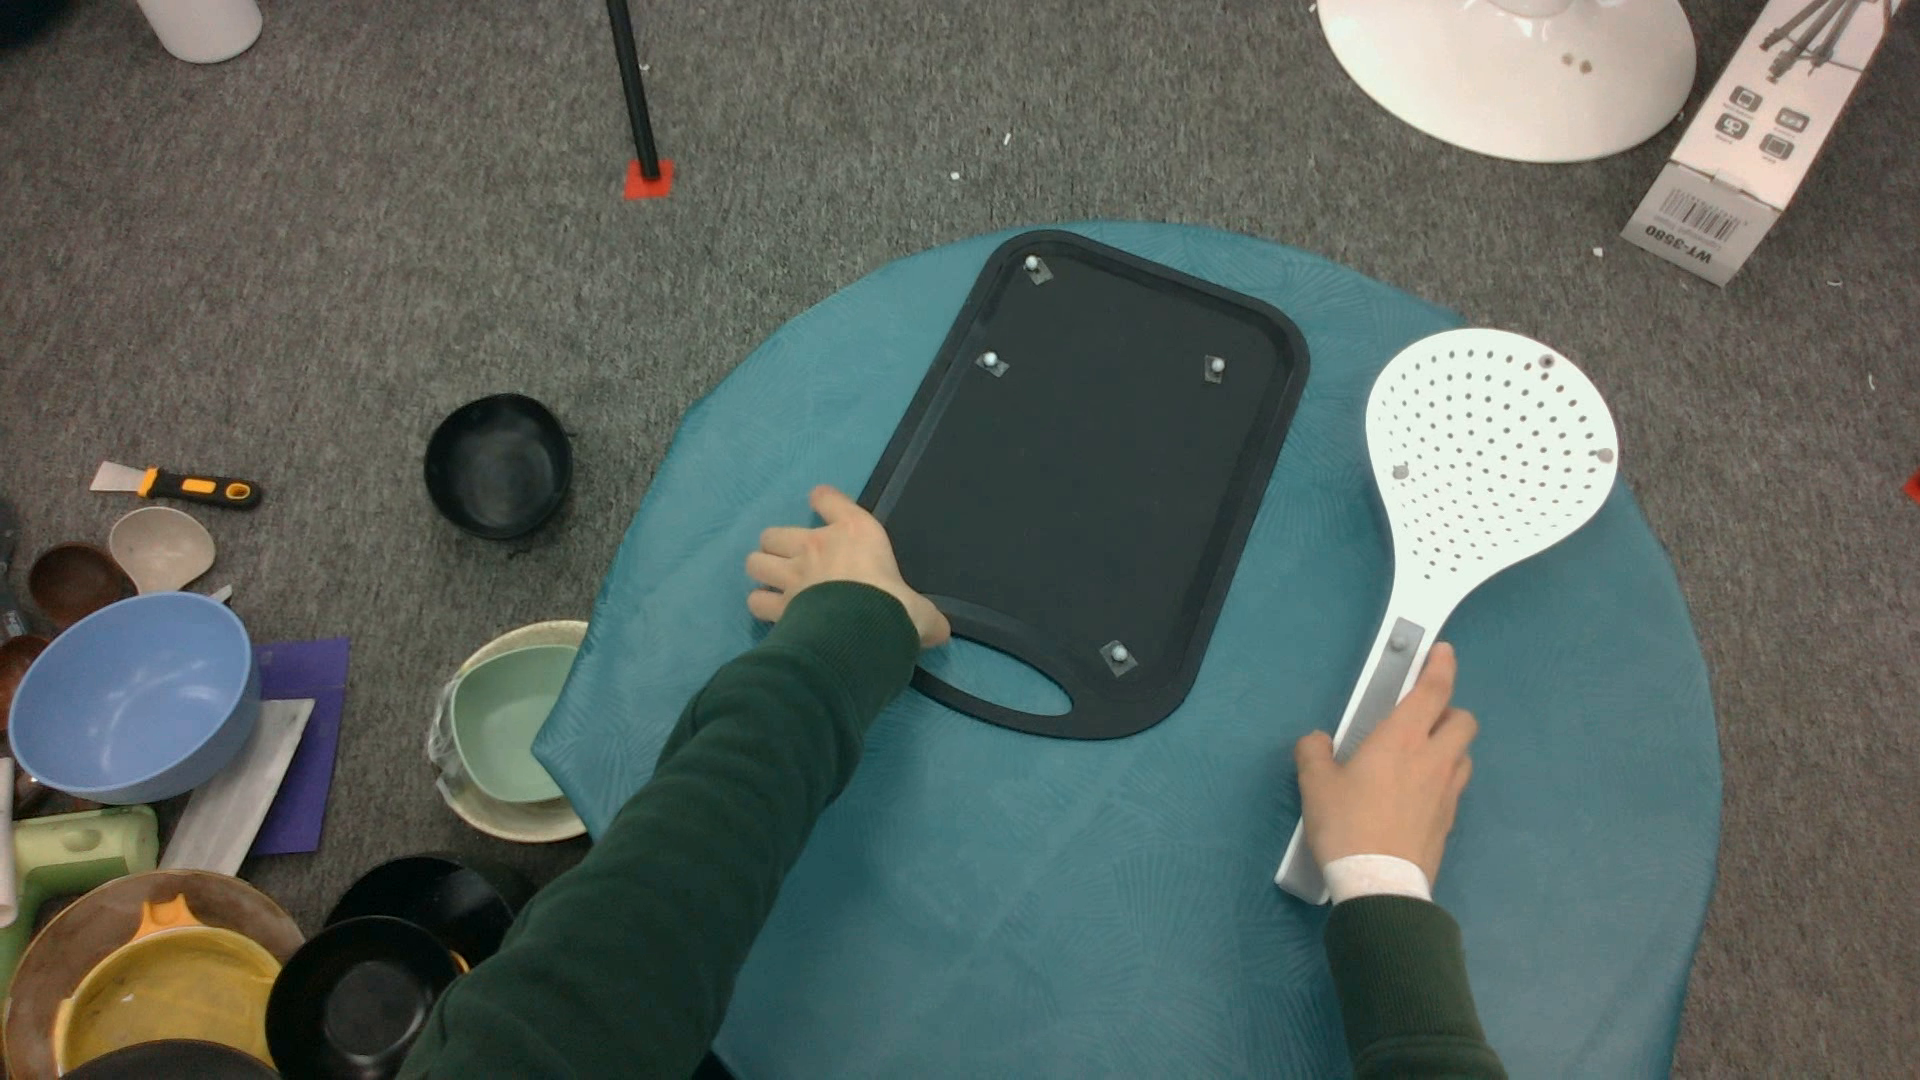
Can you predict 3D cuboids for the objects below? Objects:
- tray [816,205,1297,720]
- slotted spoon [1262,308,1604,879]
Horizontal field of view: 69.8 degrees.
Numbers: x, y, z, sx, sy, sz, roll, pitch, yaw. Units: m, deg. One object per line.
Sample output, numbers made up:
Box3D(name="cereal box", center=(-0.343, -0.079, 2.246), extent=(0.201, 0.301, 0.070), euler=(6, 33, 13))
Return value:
Box3D(name="tray", center=(0.060, -0.053, 0.785), extent=(0.211, 0.010, 0.327), euler=(22, 64, 7))
Box3D(name="slotted spoon", center=(0.241, 0.020, 0.738), extent=(0.136, 0.045, 0.351), euler=(25, 65, 11))
